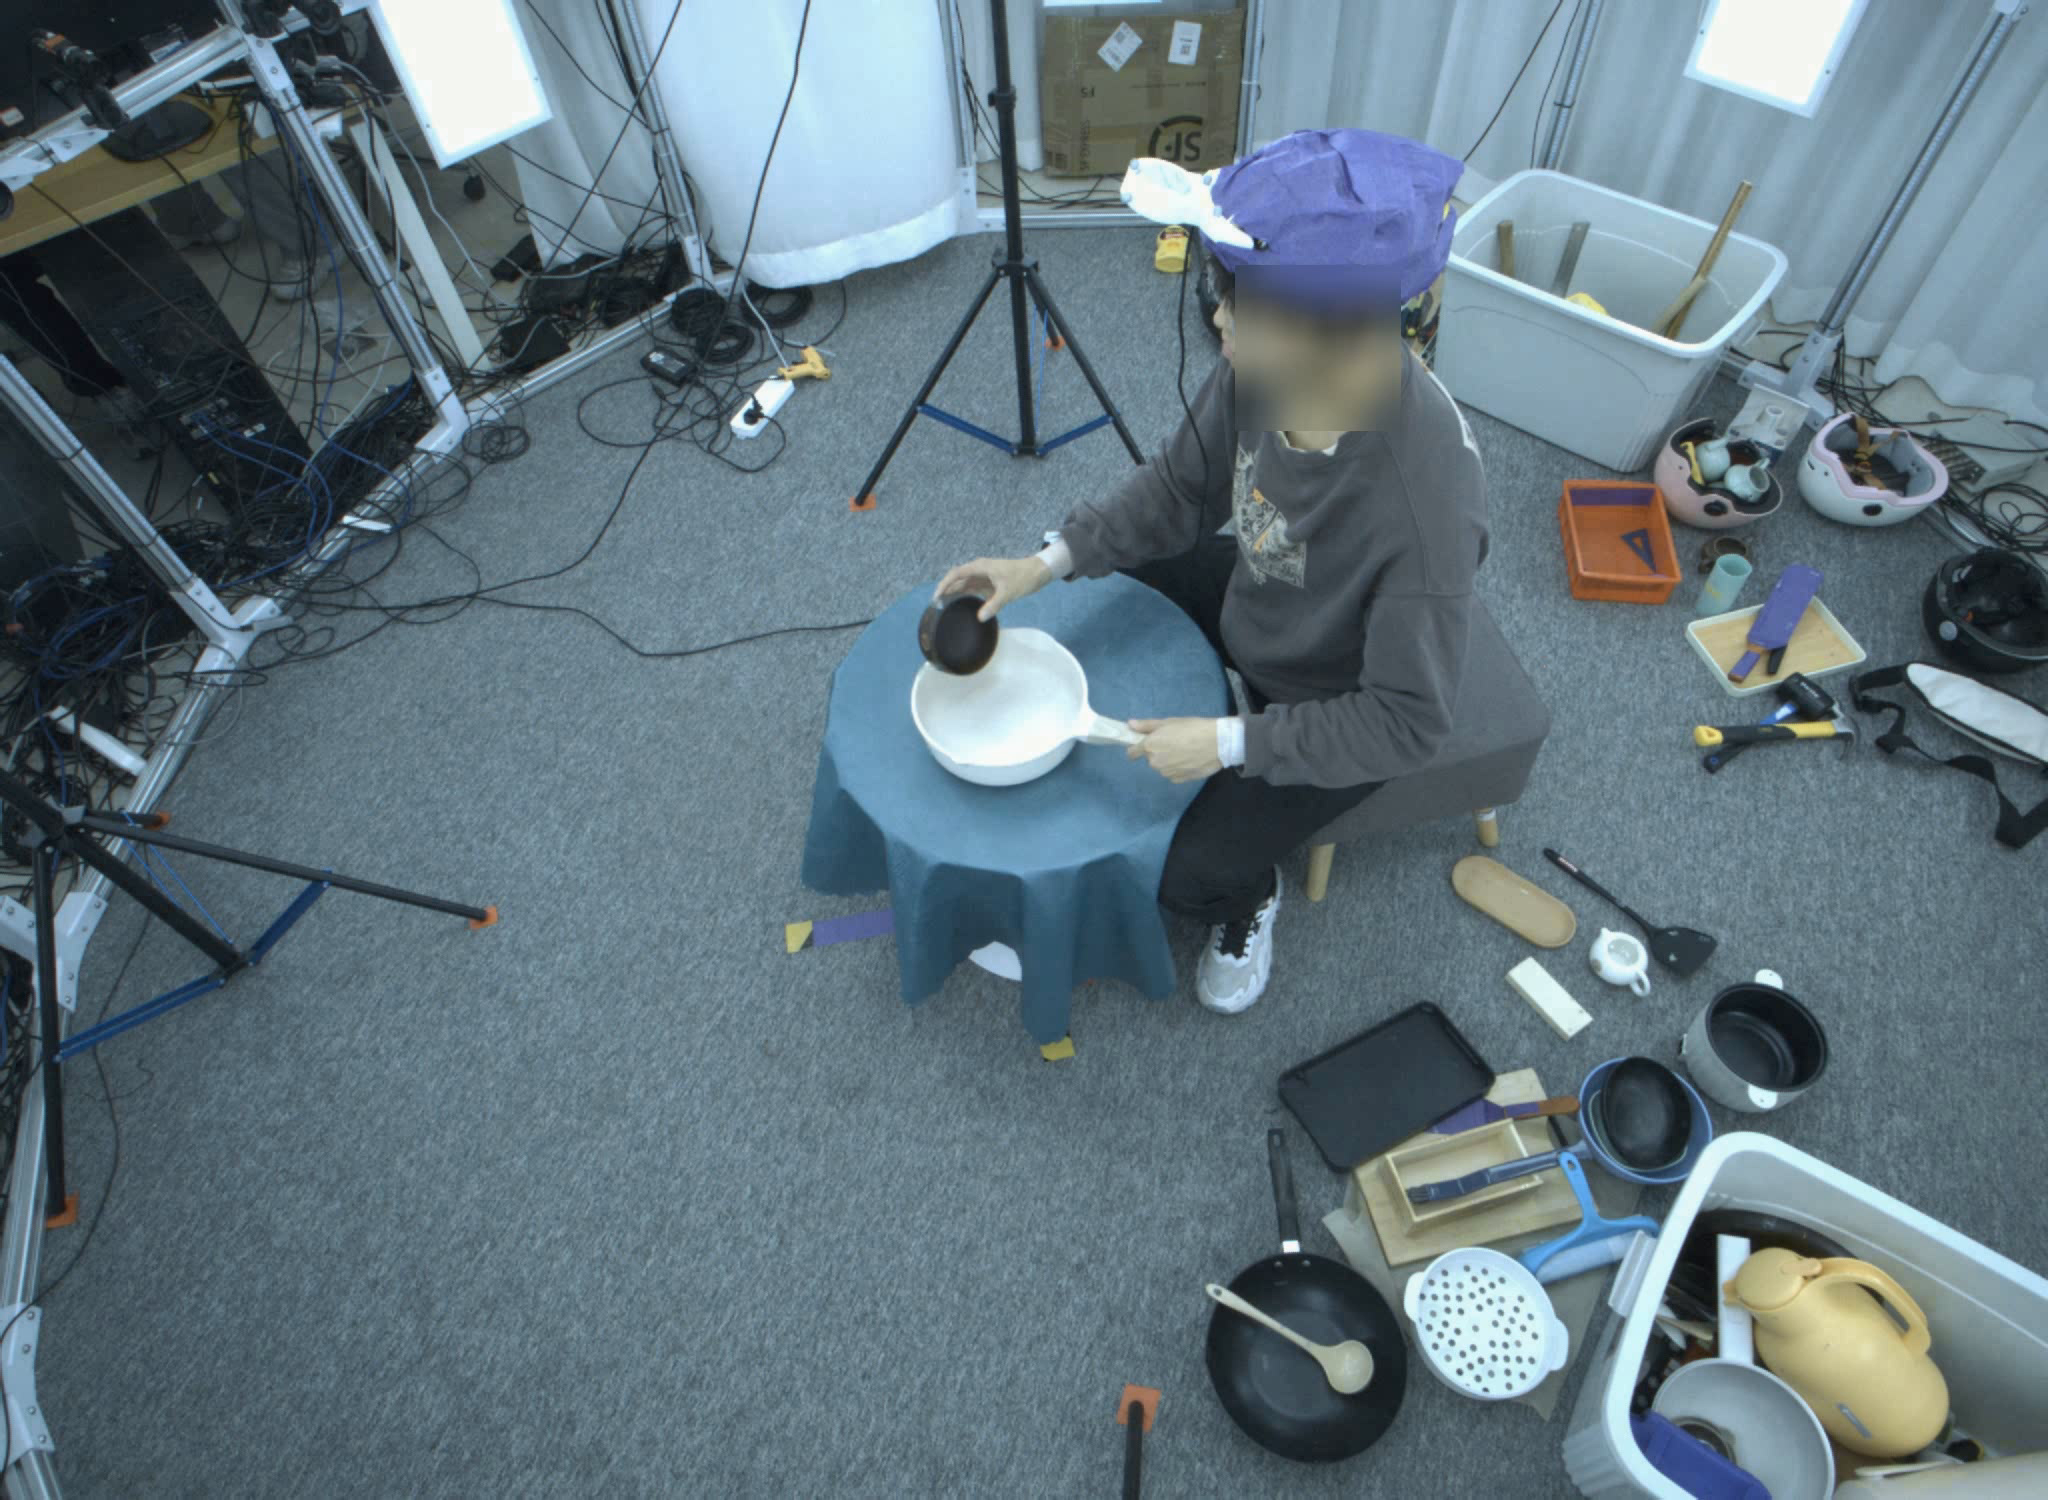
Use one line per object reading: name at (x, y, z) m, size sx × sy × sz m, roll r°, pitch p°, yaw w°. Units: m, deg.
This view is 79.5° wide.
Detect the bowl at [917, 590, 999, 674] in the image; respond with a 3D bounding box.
bowl at (-0.102, -0.170, 1.747) m, size 0.068 × 0.120 × 0.119 m, roll 16°, pitch 52°, yaw 47°

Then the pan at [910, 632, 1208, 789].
pan at (0.049, -0.028, 1.743) m, size 0.430 × 0.103 × 0.263 m, roll 19°, pitch 55°, yaw 14°
